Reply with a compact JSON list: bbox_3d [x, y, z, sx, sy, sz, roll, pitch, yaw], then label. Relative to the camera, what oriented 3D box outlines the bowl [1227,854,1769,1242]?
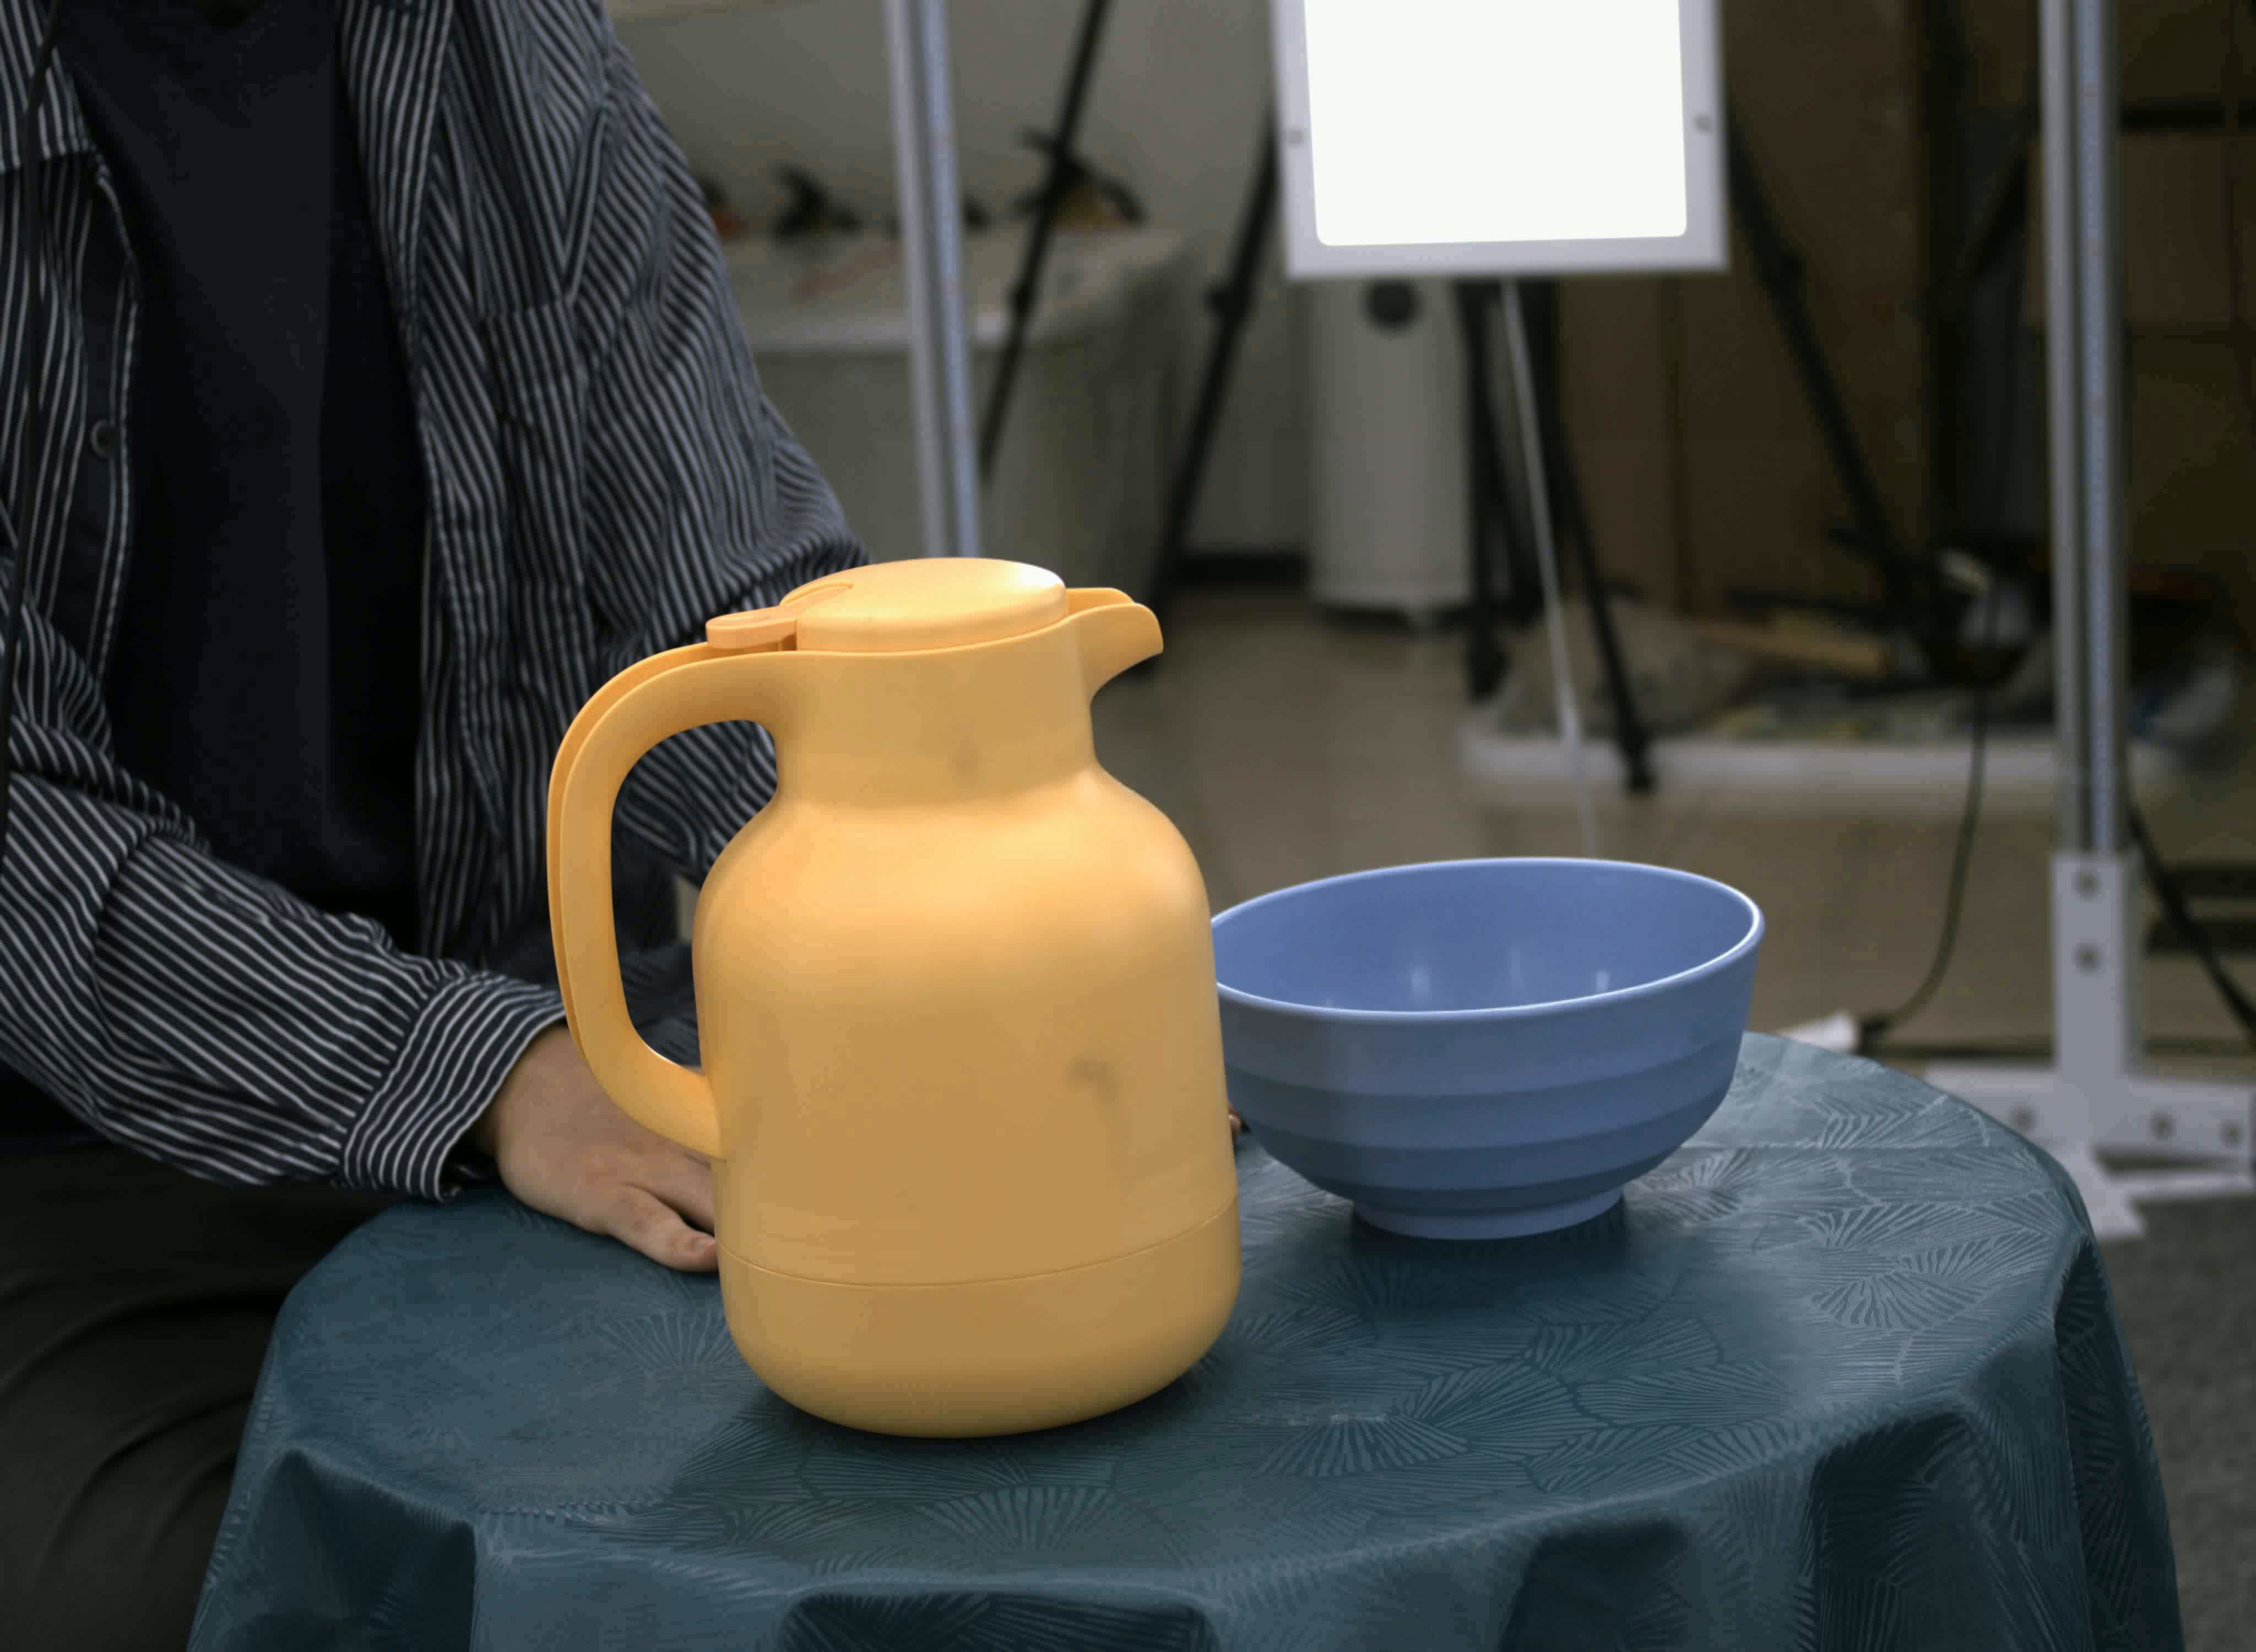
[{"bbox_3d":[0.119,0.080,1.840,0.196,0.096,0.196,-5,14,0],"label":"bowl"}]

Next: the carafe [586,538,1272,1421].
[{"bbox_3d":[-0.062,0.046,1.698,0.200,0.261,0.165,-9,14,-13],"label":"carafe"}]
